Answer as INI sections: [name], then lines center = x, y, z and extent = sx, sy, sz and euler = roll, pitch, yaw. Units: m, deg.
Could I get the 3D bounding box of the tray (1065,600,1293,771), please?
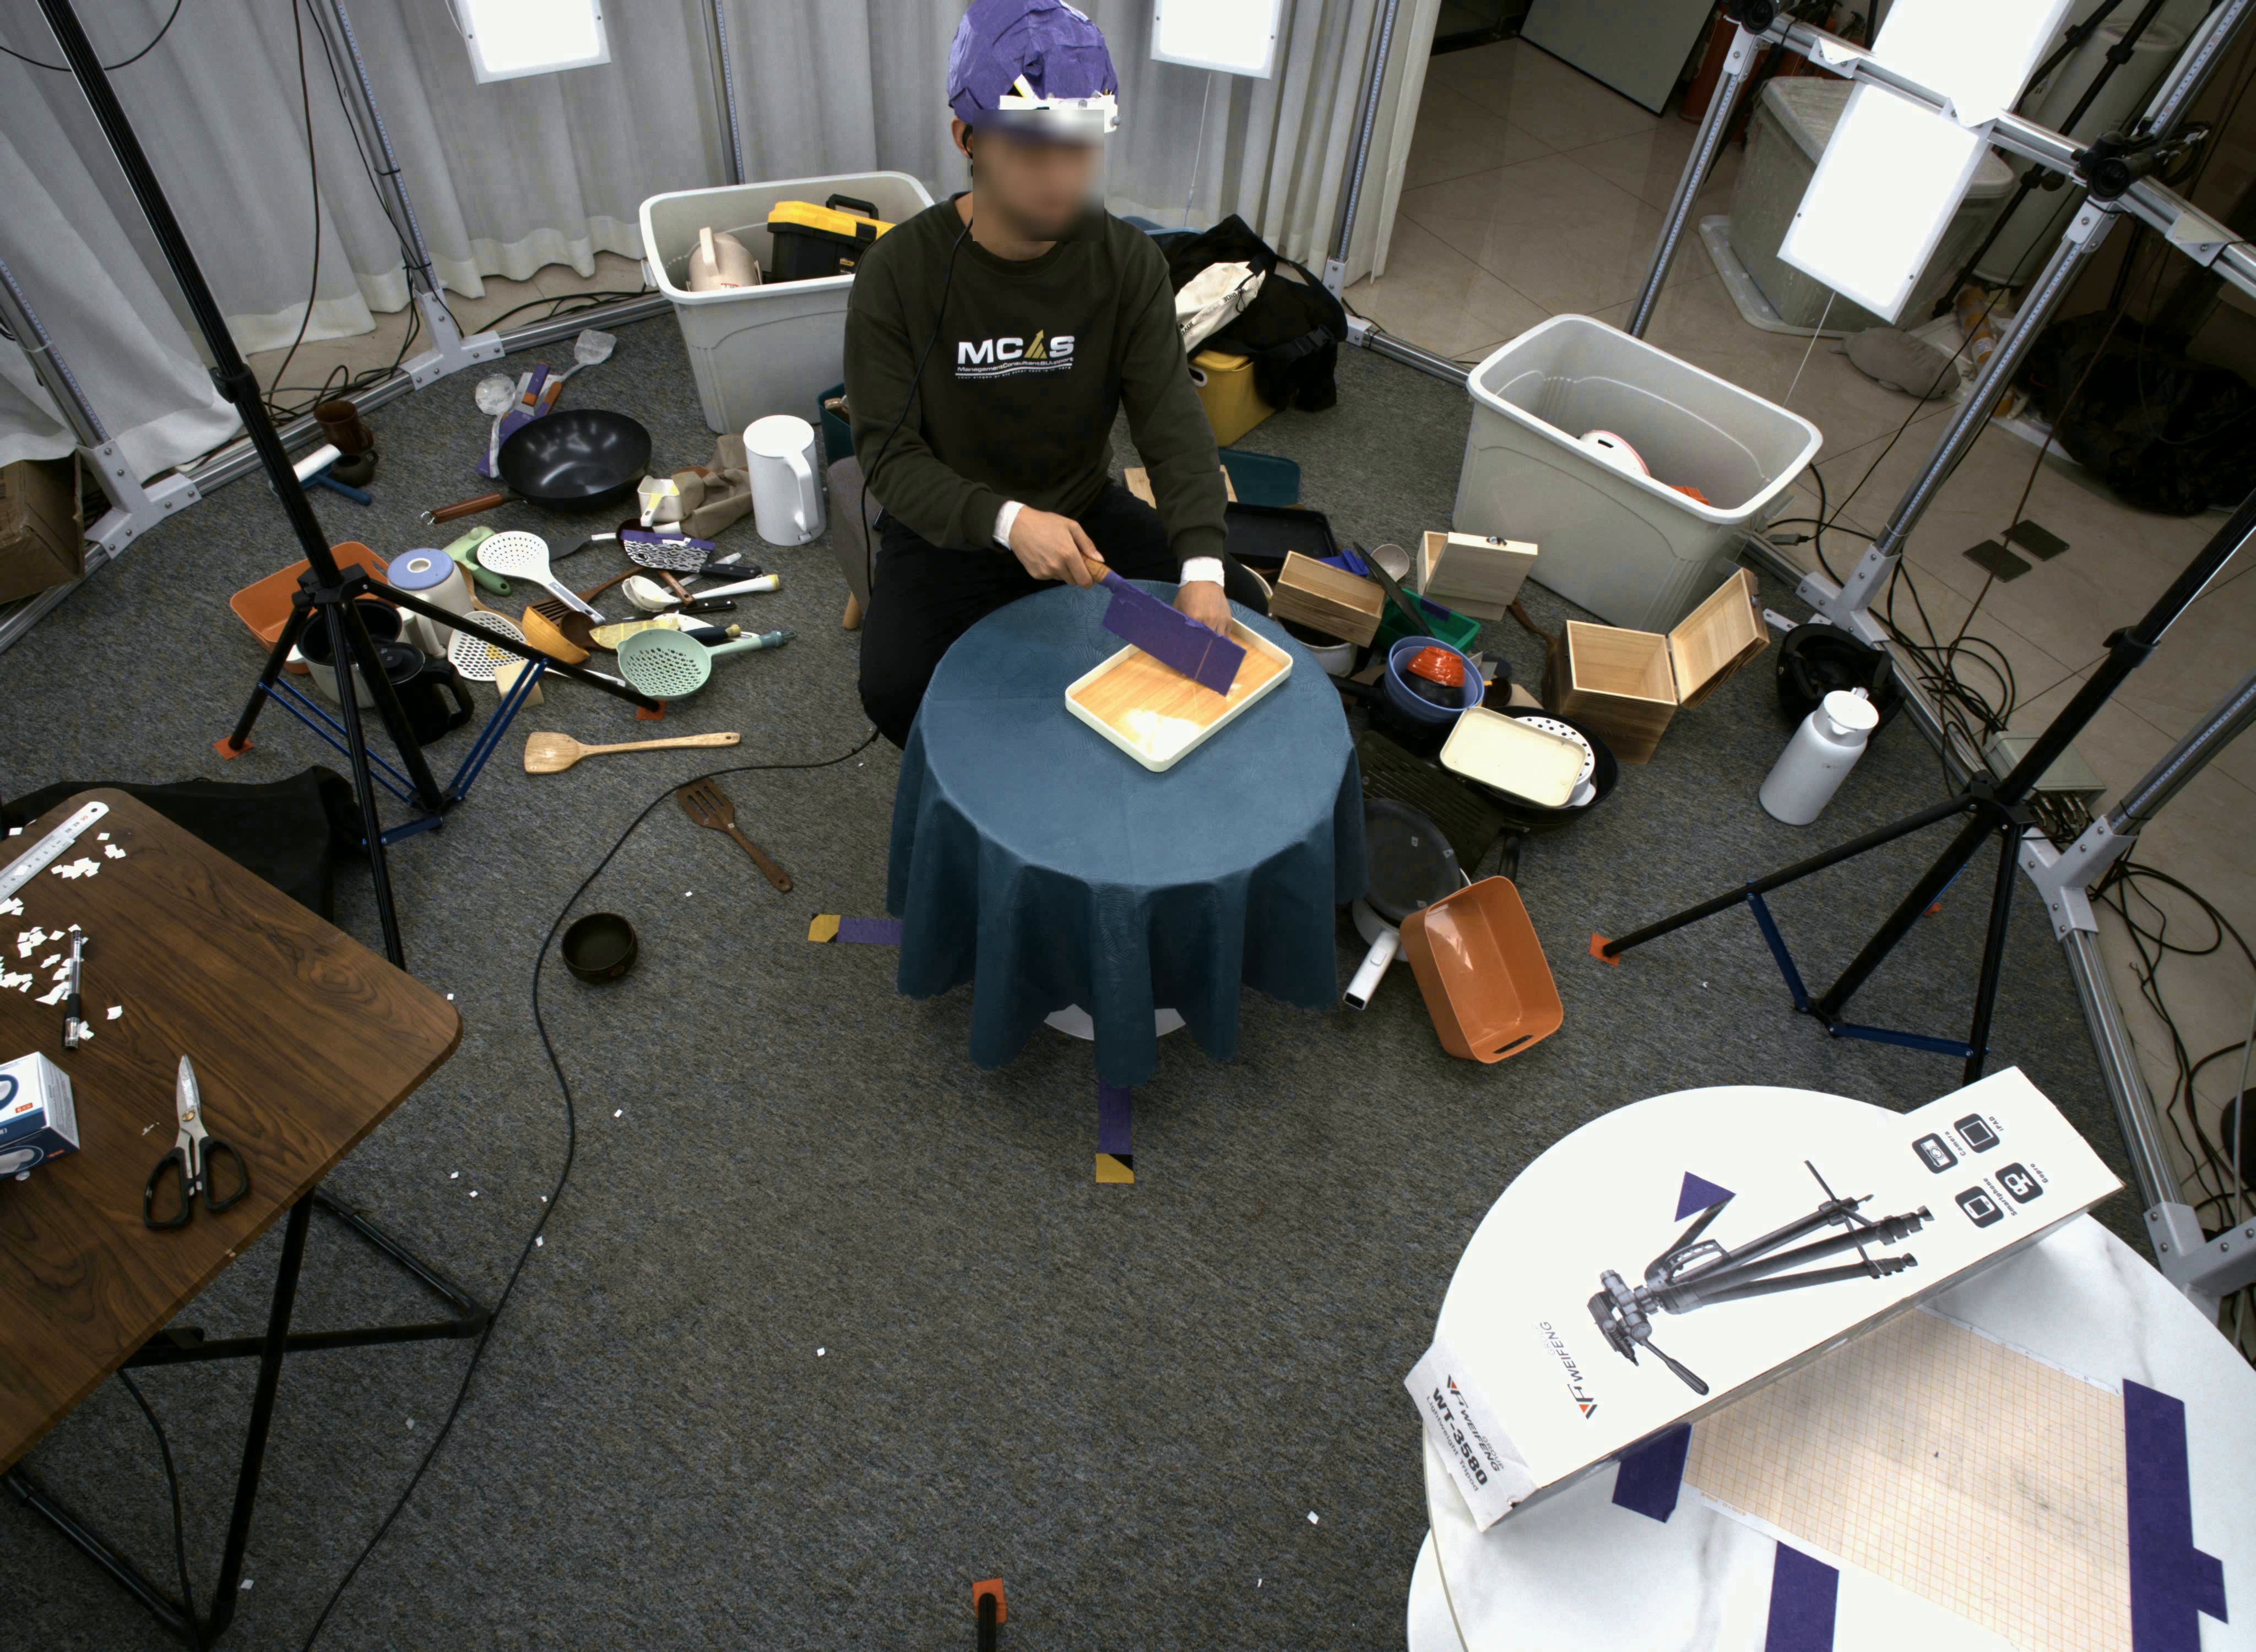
[tray]
center = 0.075, -0.208, 1.835
extent = 0.194, 0.027, 0.303
euler = 37, 56, 25

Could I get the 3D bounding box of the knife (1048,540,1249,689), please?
[knife]
center = 0.018, -0.292, 1.815
extent = 0.317, 0.102, 0.033
euler = 31, 42, 9
